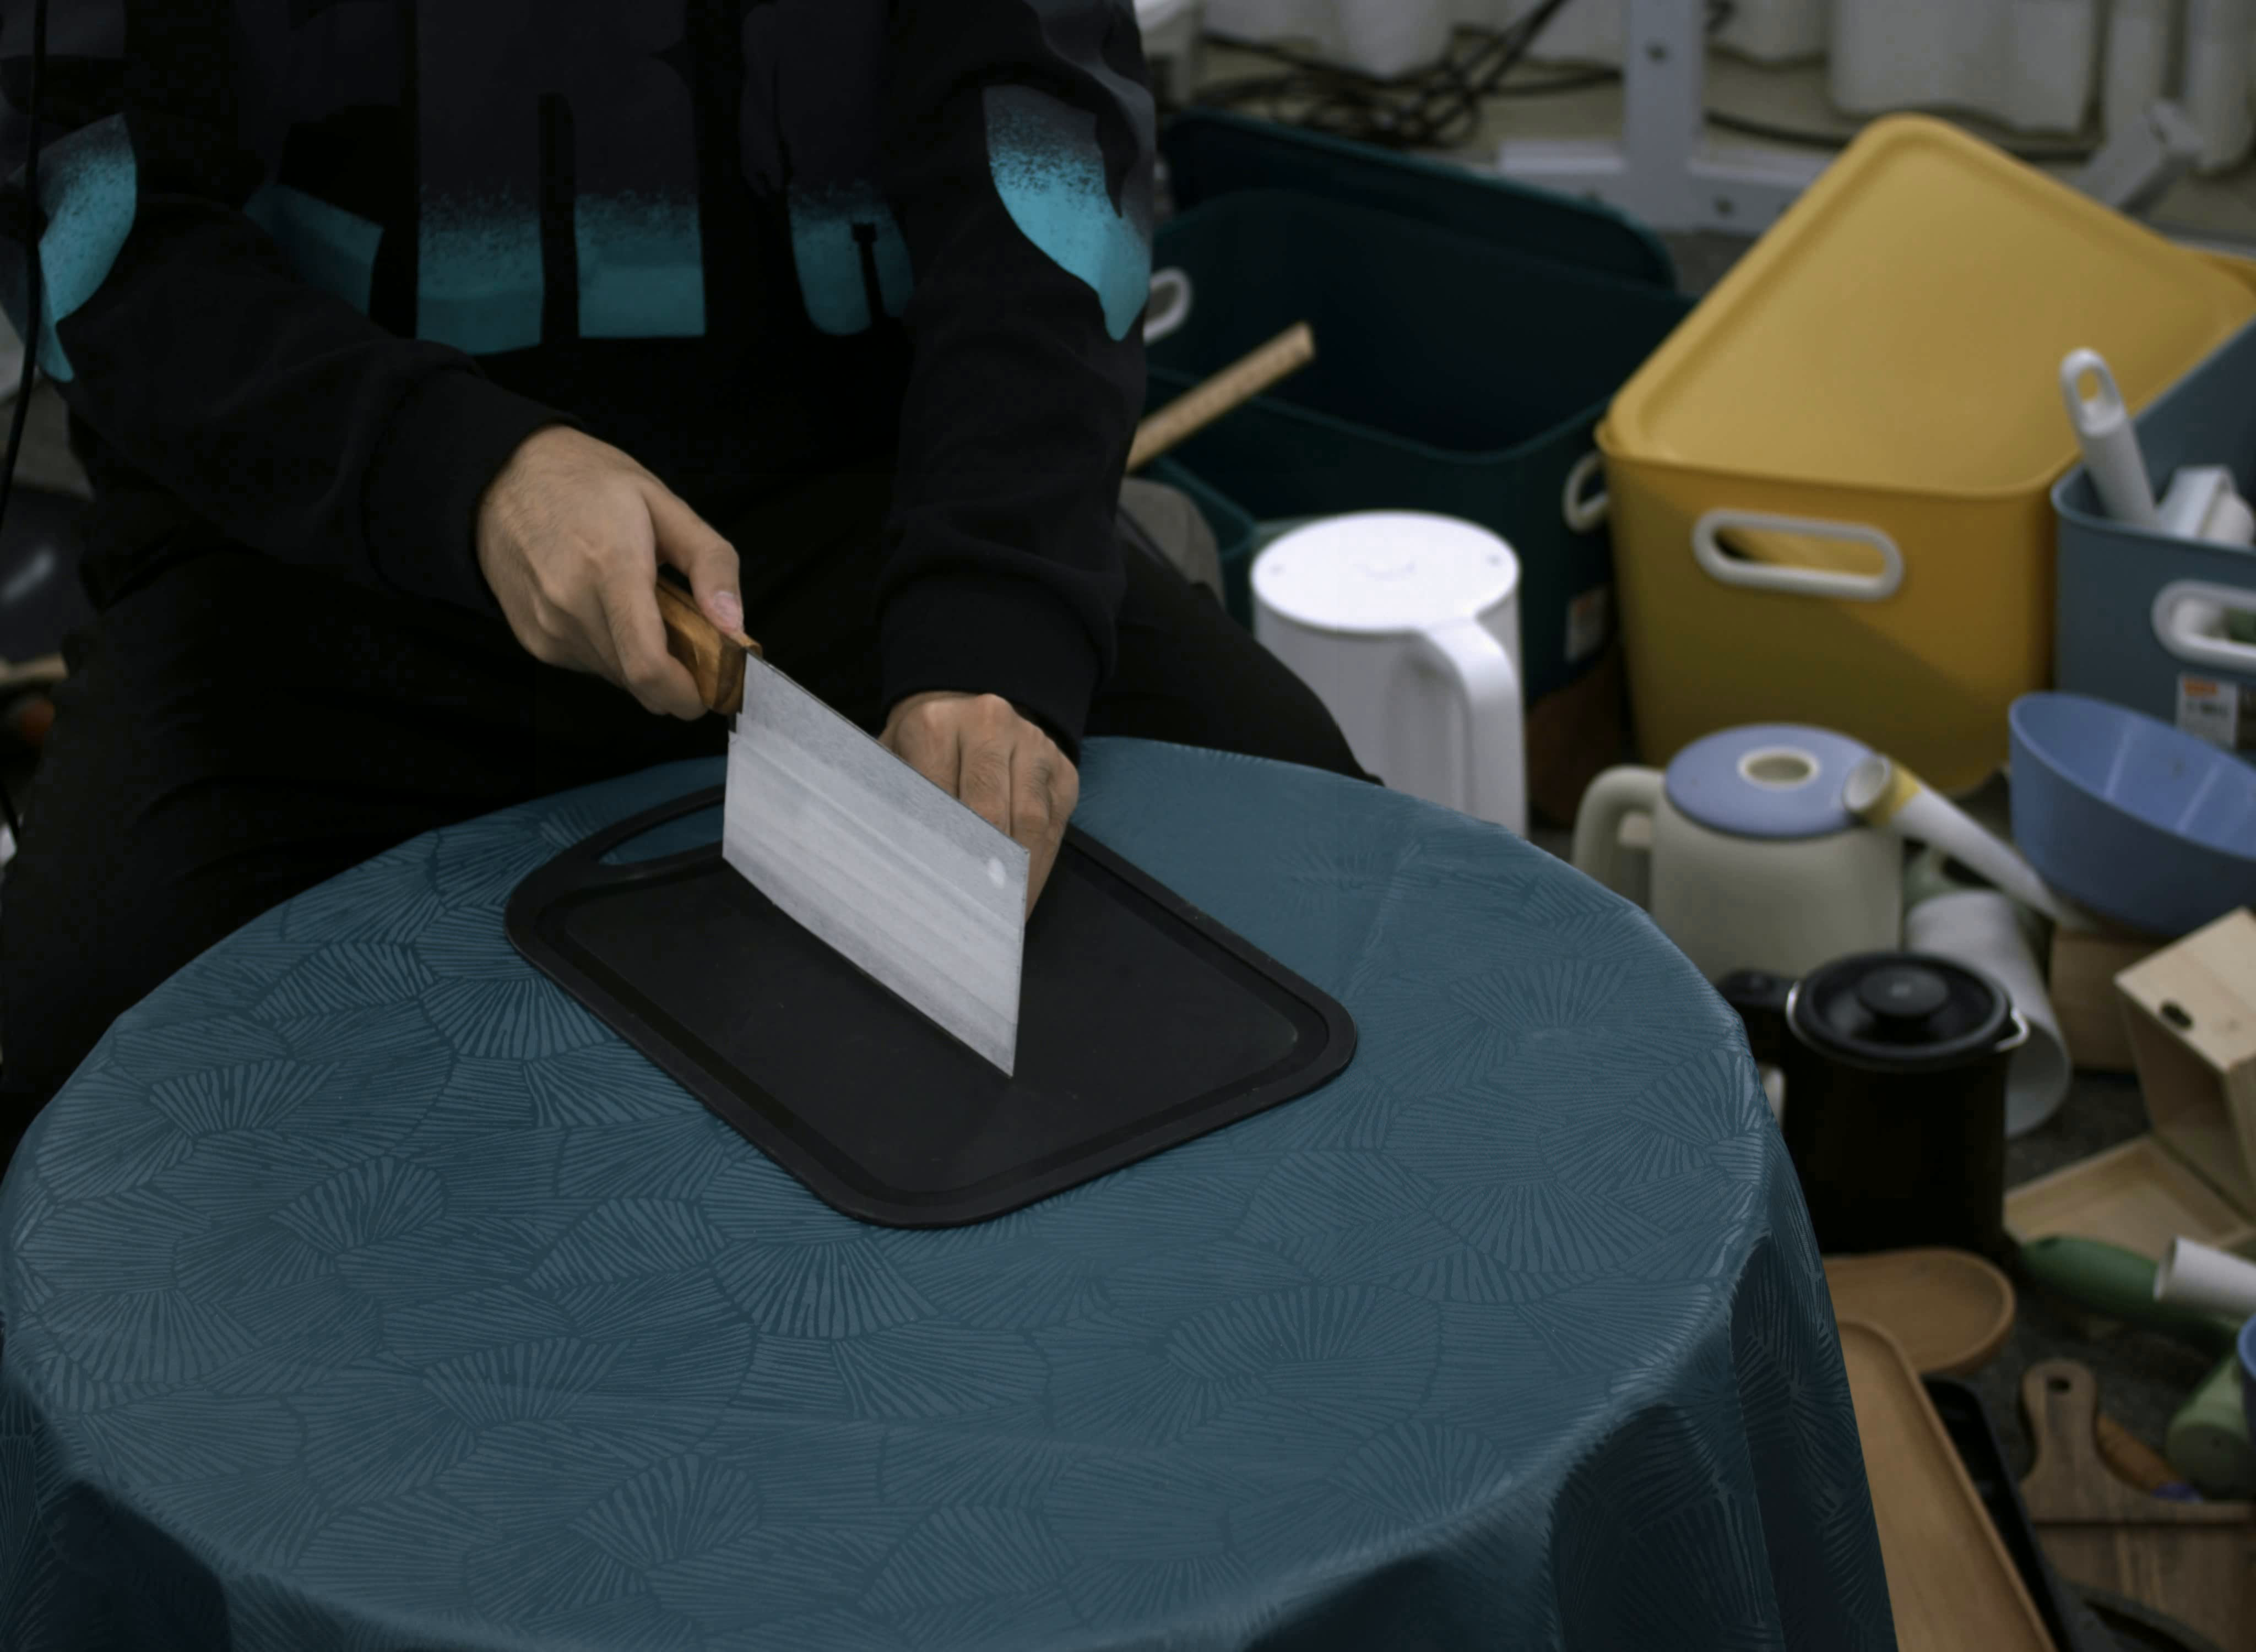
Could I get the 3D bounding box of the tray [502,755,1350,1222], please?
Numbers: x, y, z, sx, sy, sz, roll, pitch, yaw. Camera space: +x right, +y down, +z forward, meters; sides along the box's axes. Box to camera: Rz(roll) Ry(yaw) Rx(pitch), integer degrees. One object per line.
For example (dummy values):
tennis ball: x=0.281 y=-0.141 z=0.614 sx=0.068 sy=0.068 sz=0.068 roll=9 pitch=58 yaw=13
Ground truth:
tray: x=-0.081 y=0.049 z=2.002 sx=0.213 sy=0.009 sz=0.326 roll=-19 pitch=32 yaw=-28

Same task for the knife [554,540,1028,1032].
knife: x=-0.123 y=-0.013 z=2.014 sx=0.021 sy=0.092 sz=0.307 roll=-12 pitch=30 yaw=-34
